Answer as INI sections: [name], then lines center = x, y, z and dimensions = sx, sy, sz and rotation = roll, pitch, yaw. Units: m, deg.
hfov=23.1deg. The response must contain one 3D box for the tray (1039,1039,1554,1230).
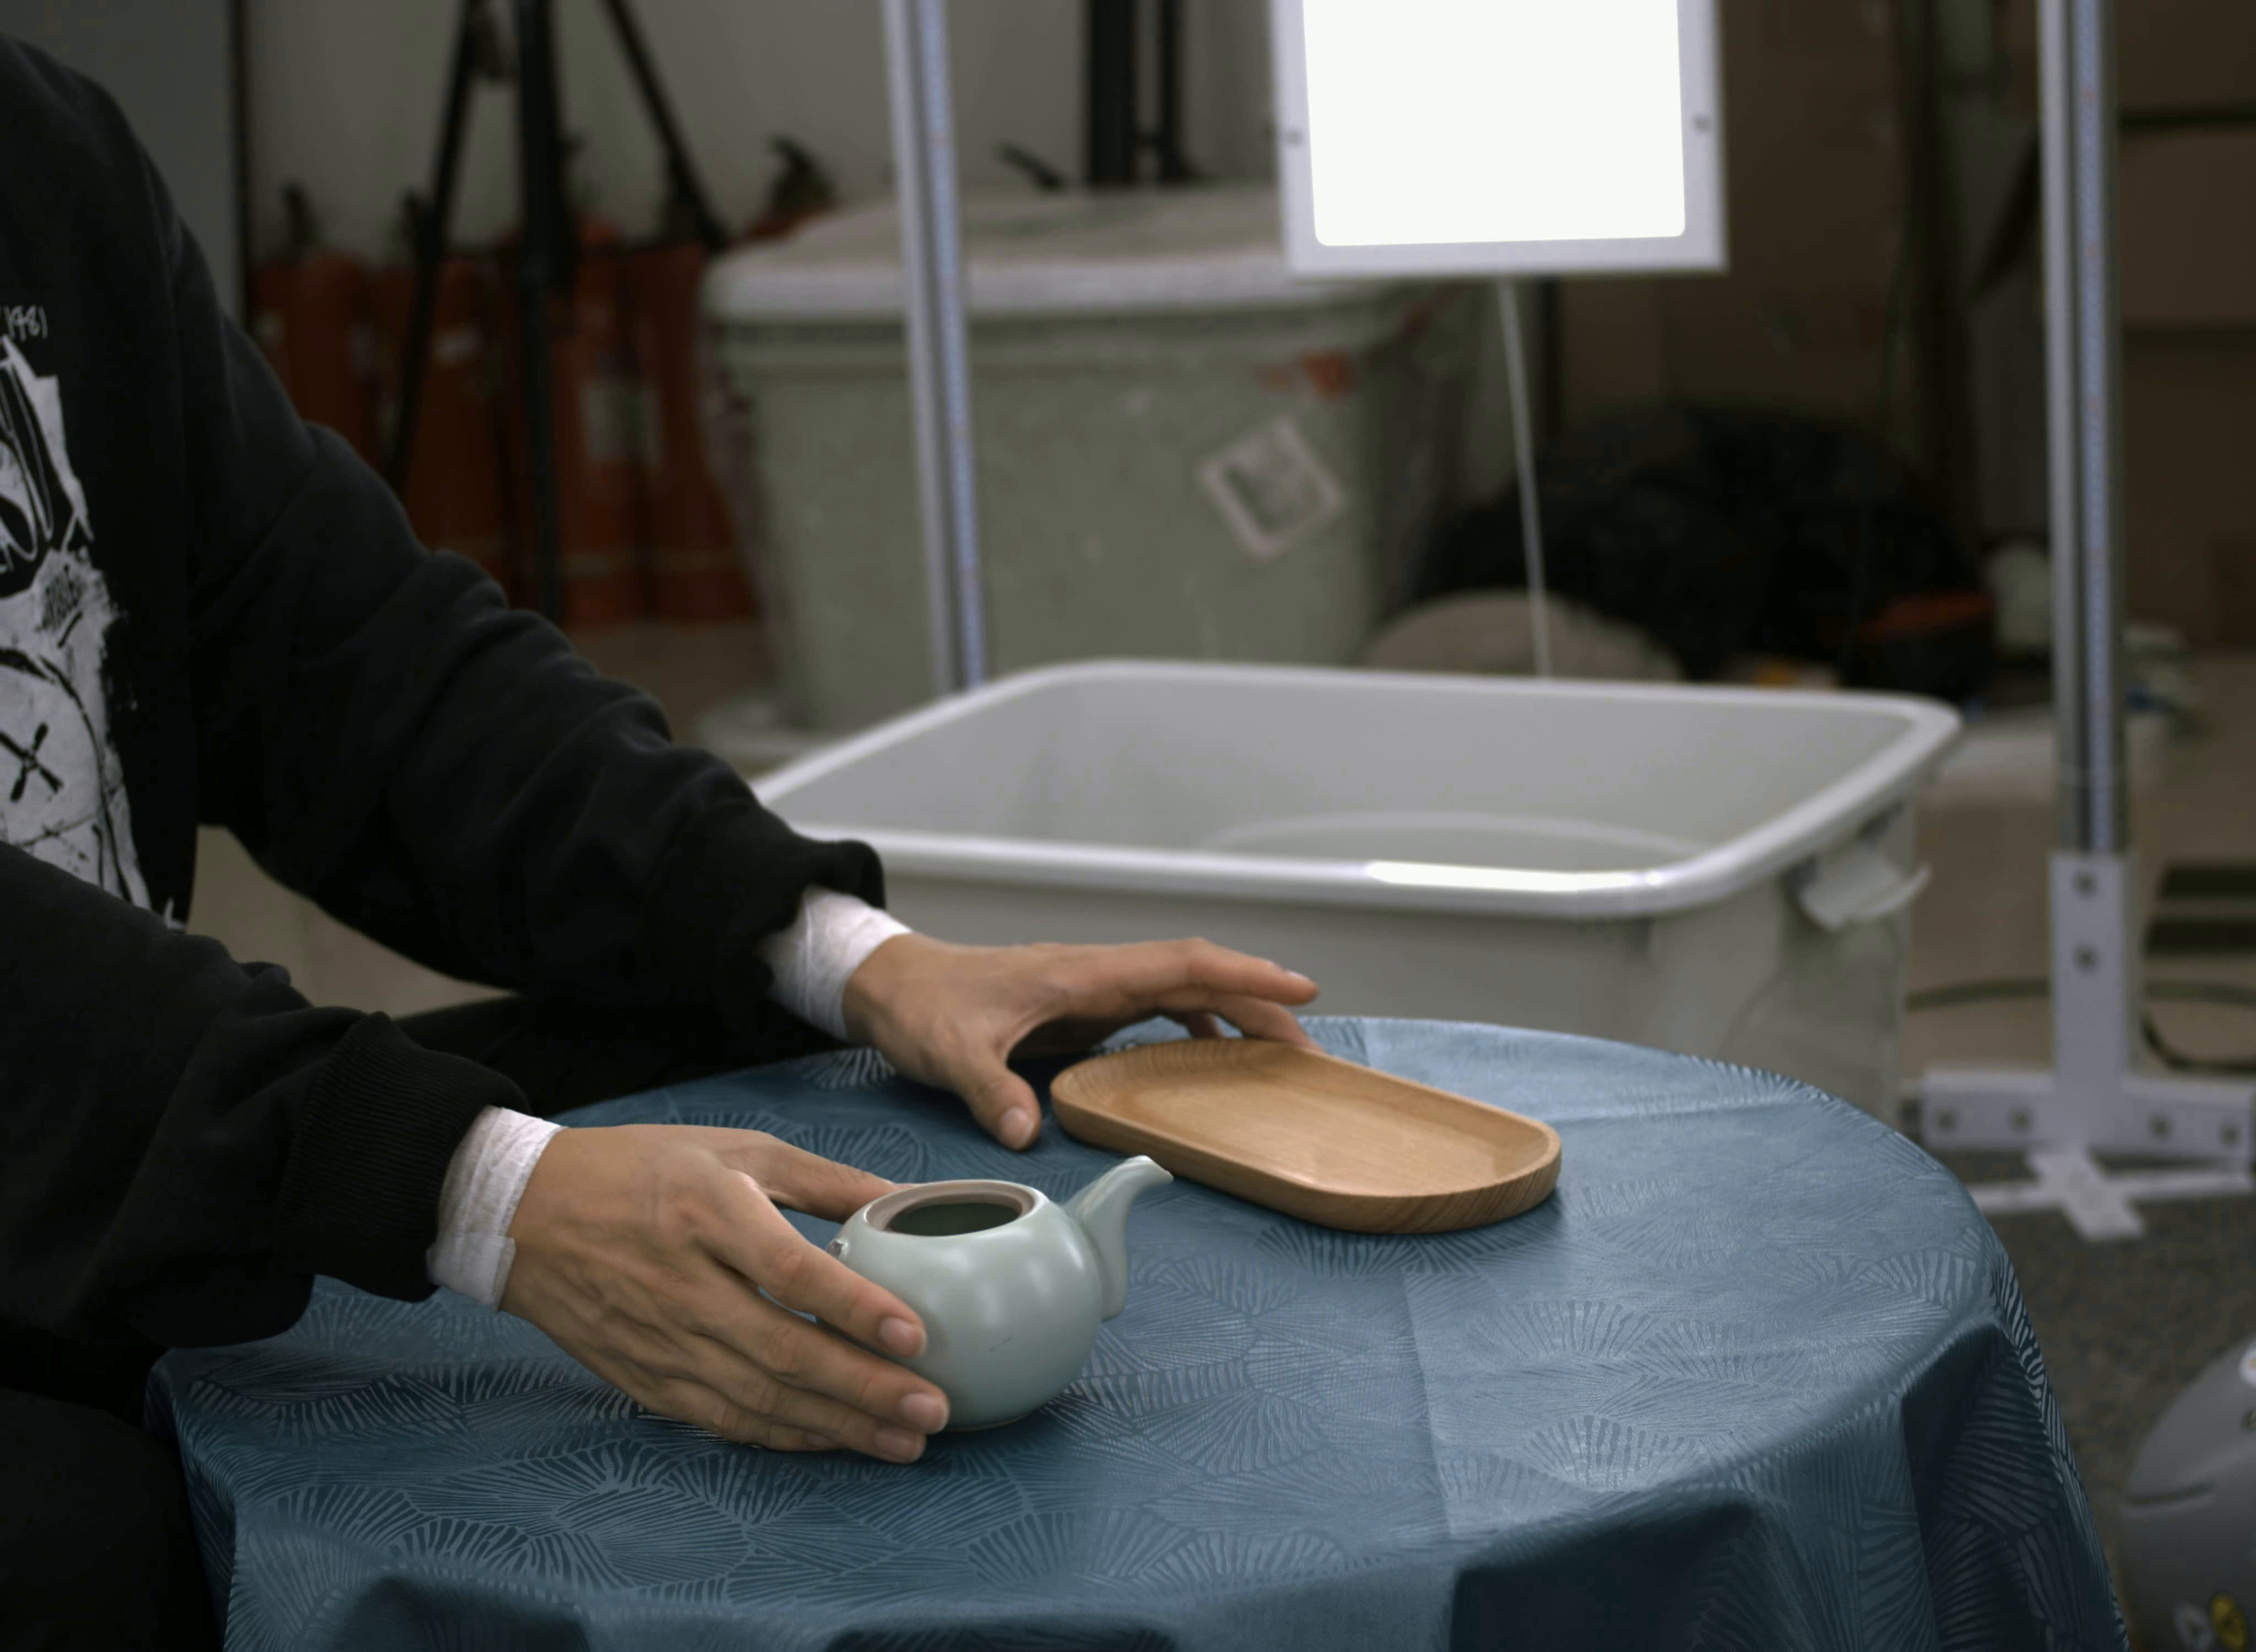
[tray]
center = 0.057, 0.107, 1.925
dimensions = 0.099, 0.020, 0.236
rotation = -12, 14, -33

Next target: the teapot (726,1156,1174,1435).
[teapot]
center = -0.052, 0.146, 1.691
dimensions = 0.142, 0.075, 0.089
rotation = -7, 13, -12
